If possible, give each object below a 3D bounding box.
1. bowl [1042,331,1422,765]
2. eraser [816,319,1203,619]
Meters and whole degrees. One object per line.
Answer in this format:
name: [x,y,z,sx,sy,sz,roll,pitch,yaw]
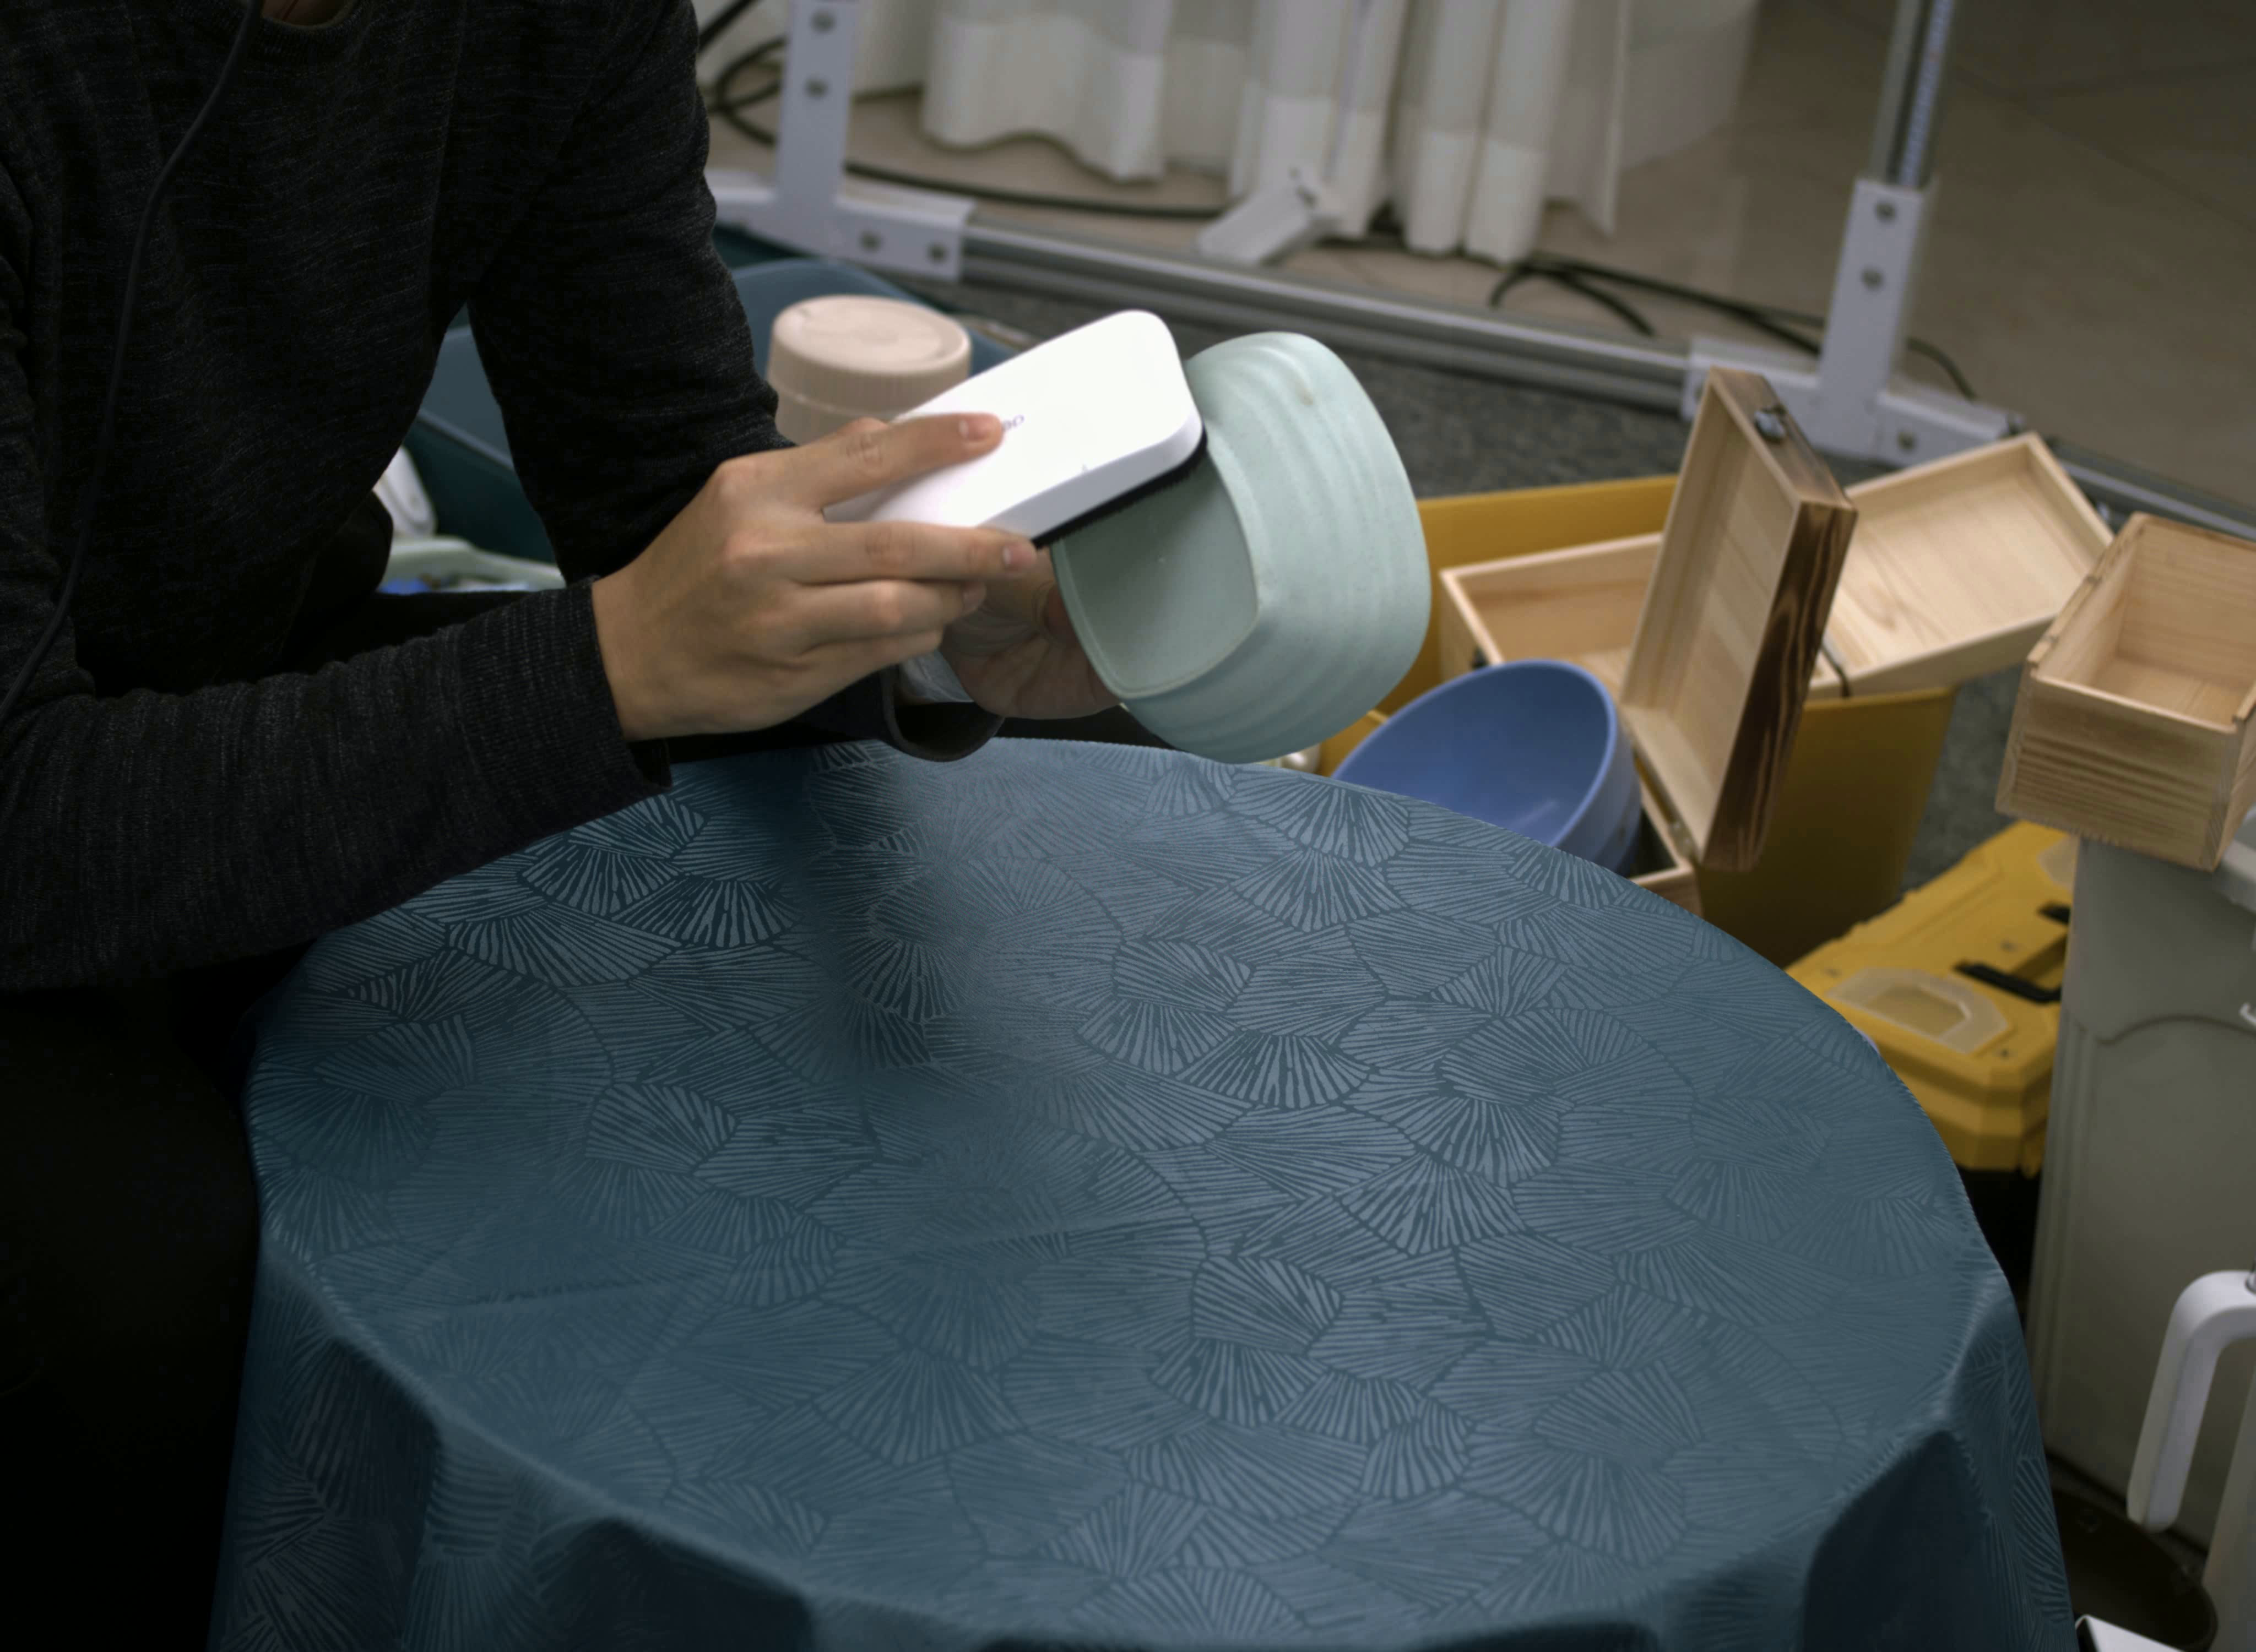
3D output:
bowl: [0.024,-0.090,1.776,0.152,0.151,0.058,29,25,37]
eraser: [-0.040,-0.119,1.745,0.131,0.034,0.064,-24,48,12]
